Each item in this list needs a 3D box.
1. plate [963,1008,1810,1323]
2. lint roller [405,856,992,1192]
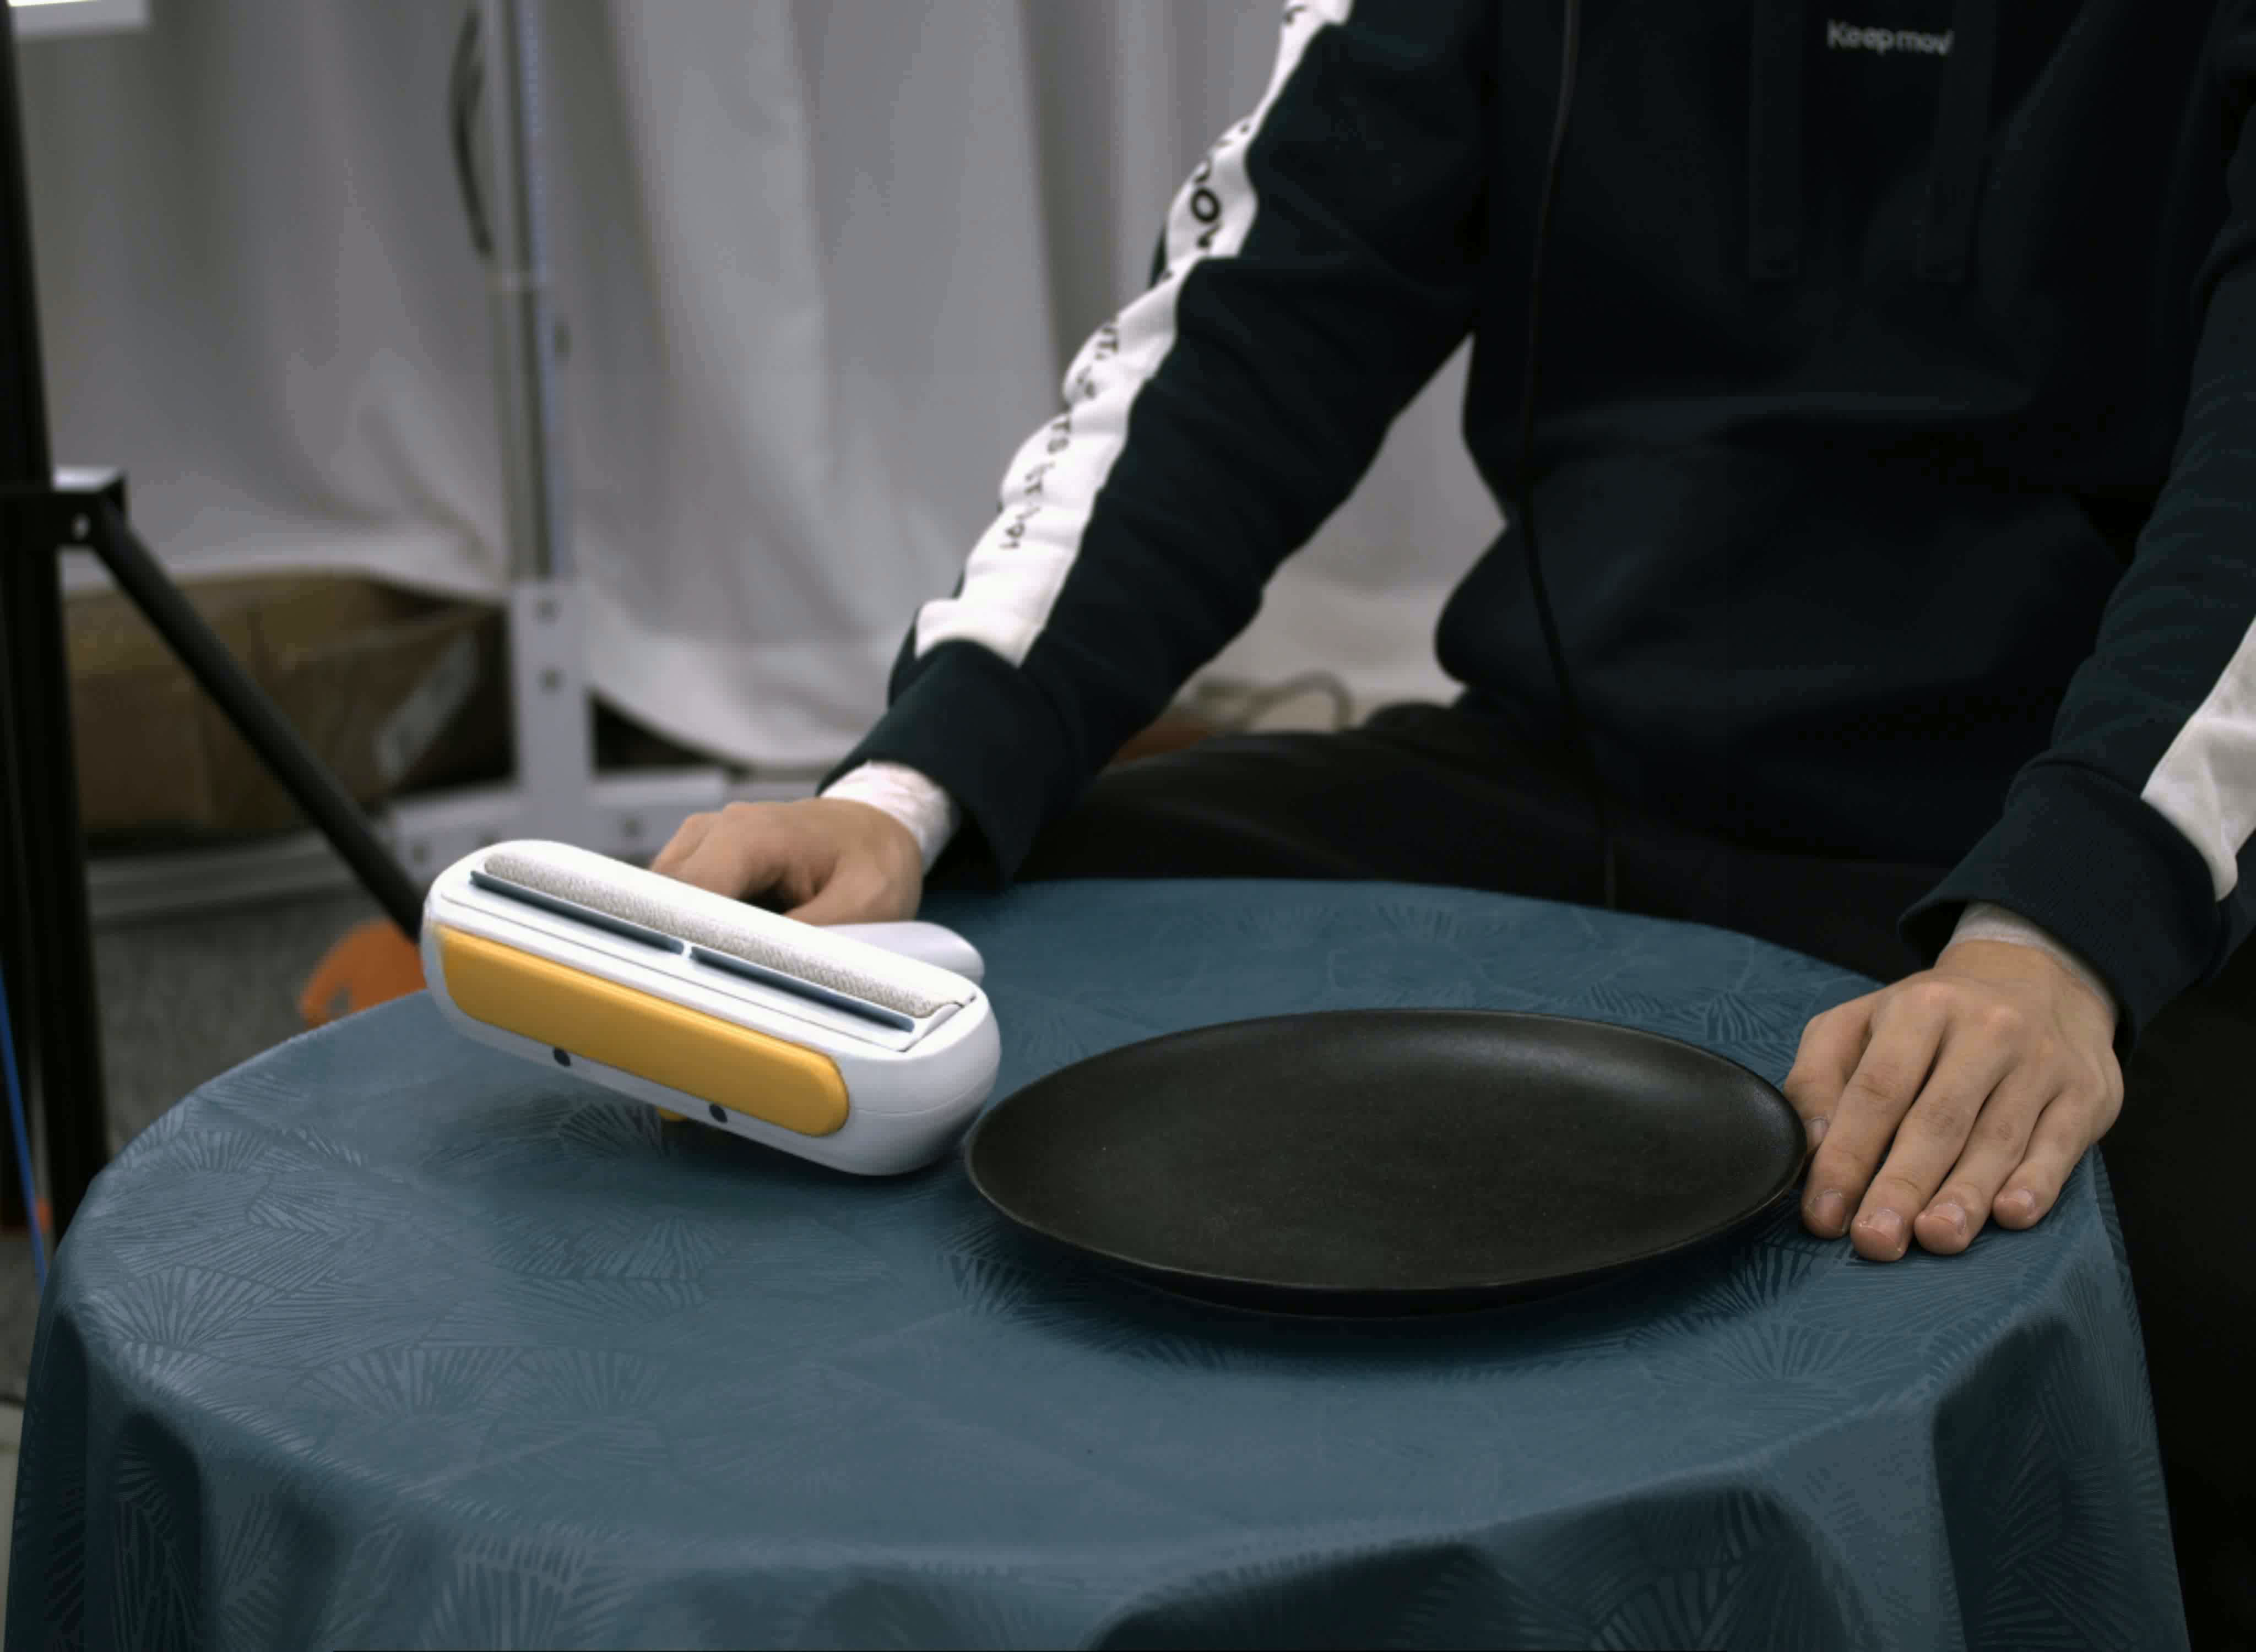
[{"bbox_3d":[0.074,0.101,1.530,0.243,0.023,0.245,-3,16,0],"label":"plate"},{"bbox_3d":[-0.106,0.065,1.671,0.197,0.074,0.188,17,9,33],"label":"lint roller"}]
